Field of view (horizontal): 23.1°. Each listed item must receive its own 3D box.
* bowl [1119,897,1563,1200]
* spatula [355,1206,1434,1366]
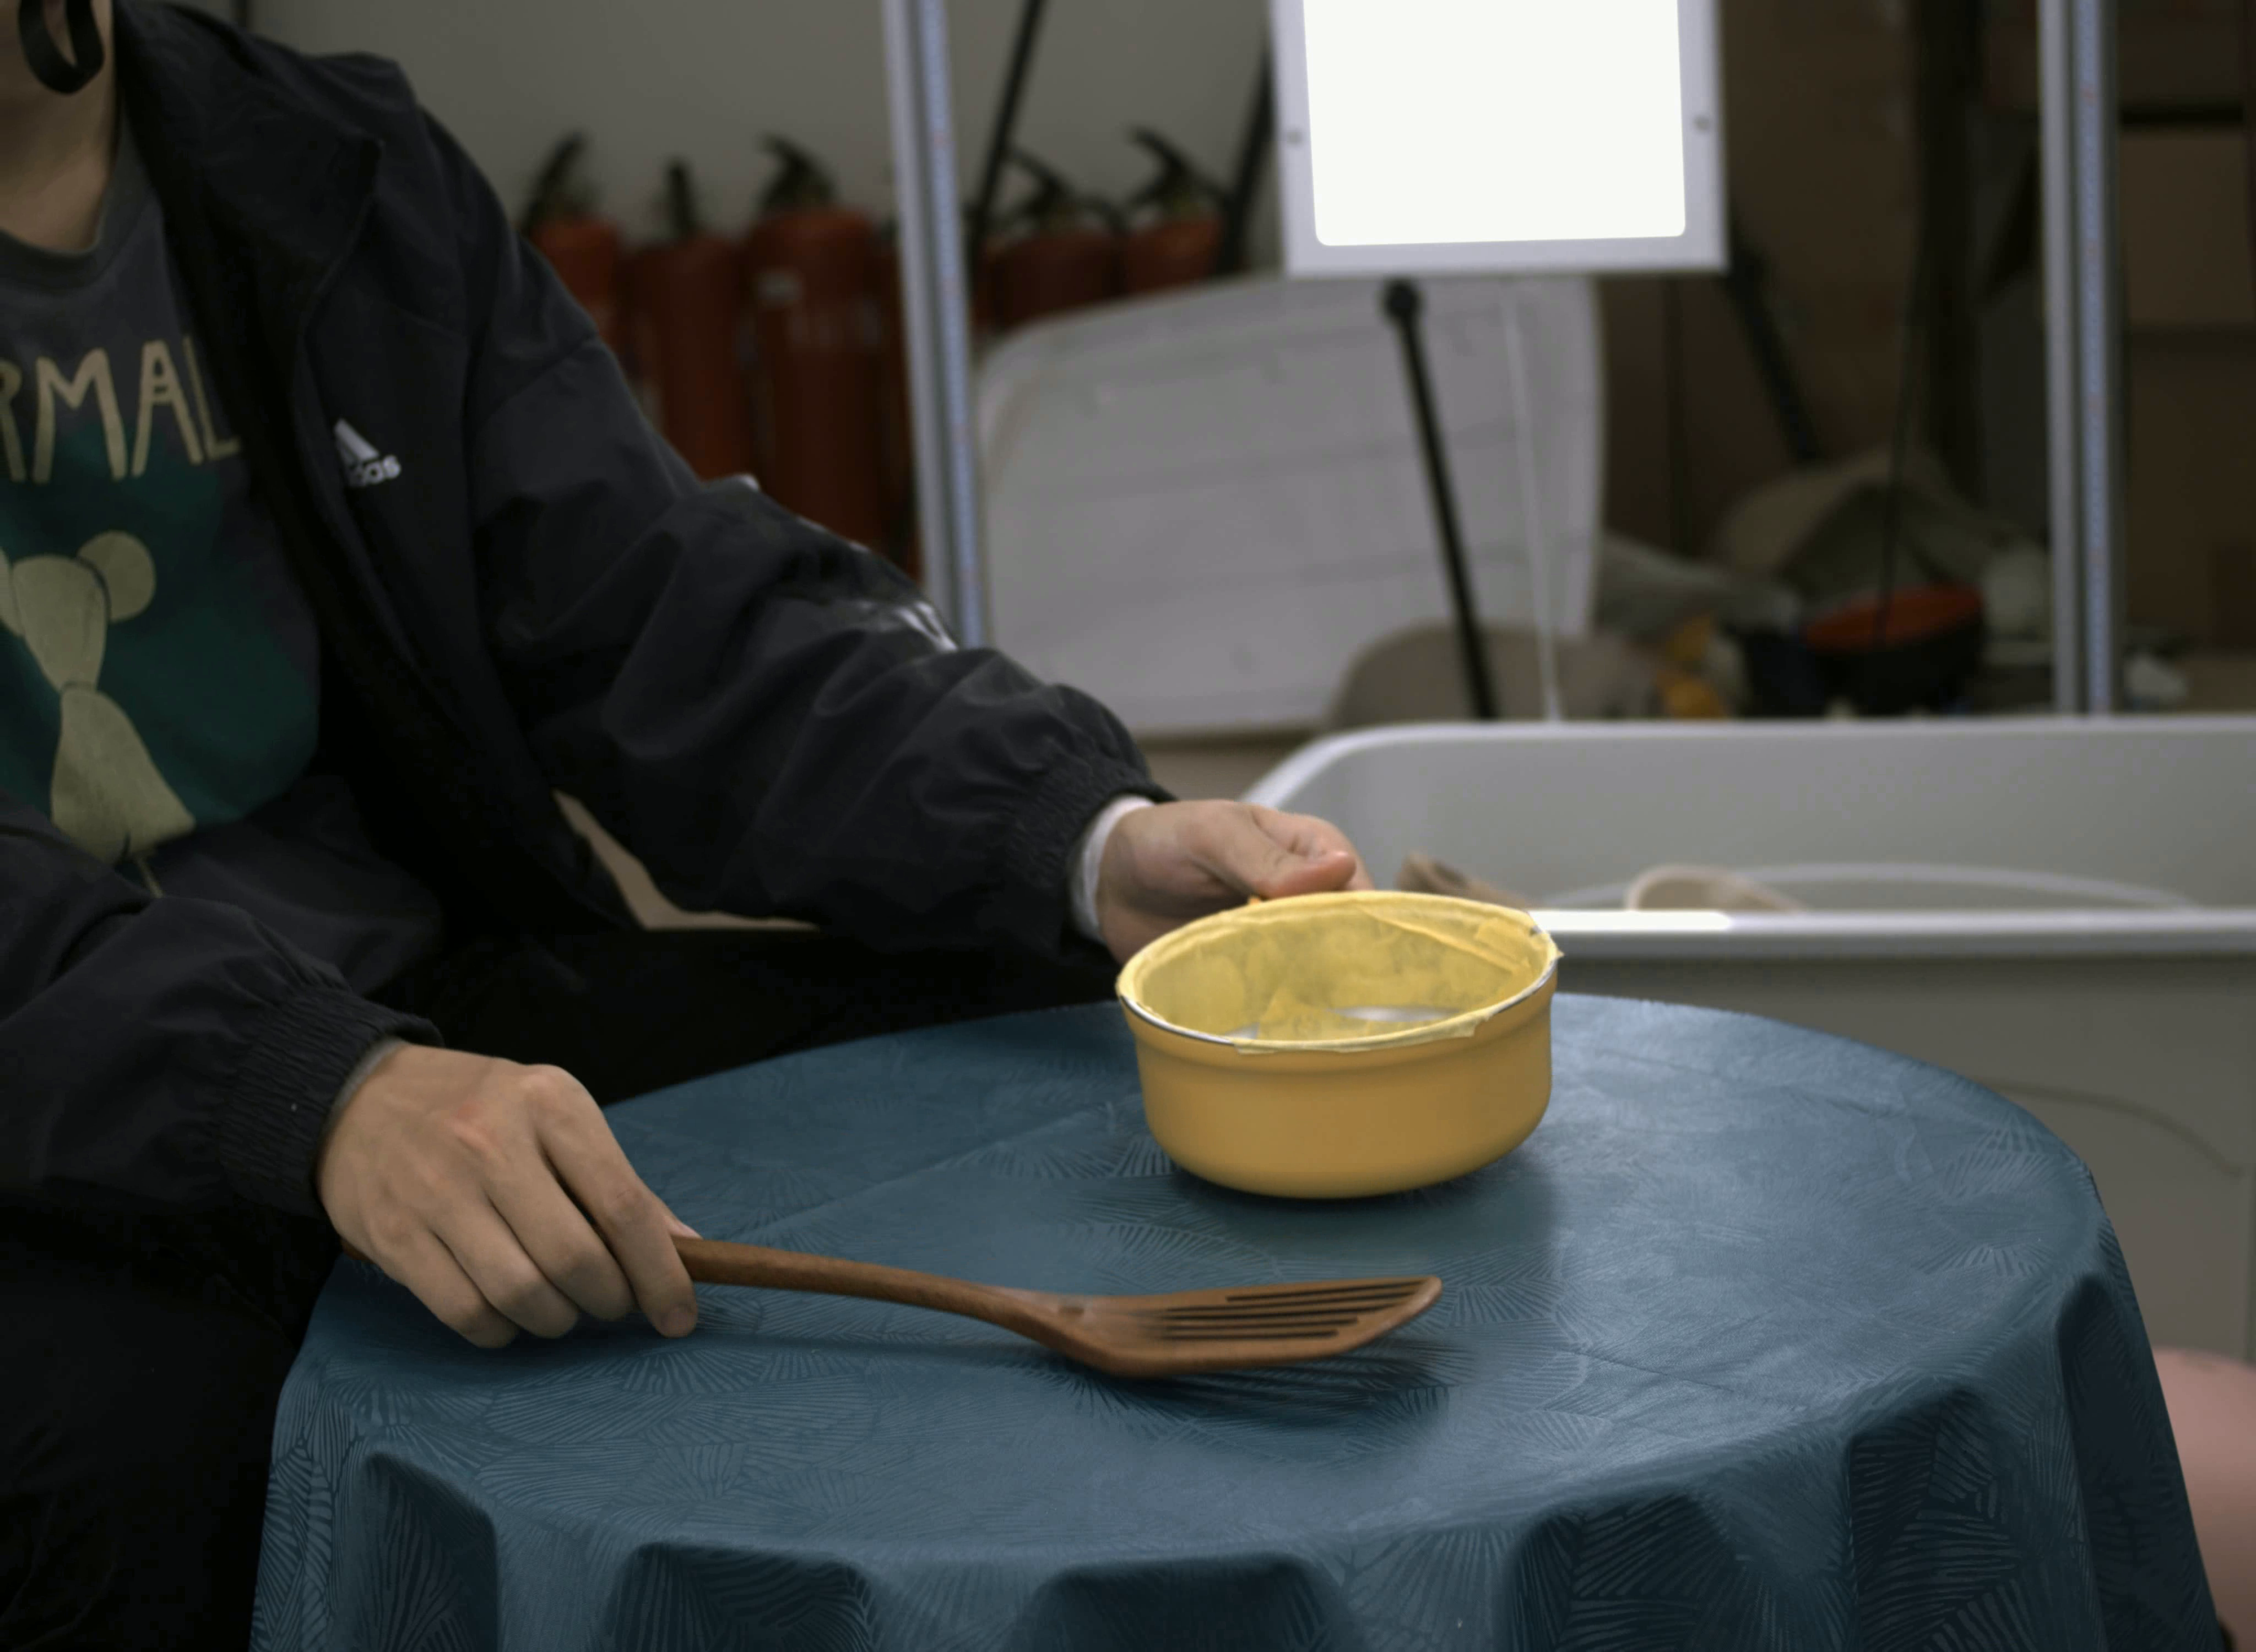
[{"bbox_3d":[0.074,0.076,1.921,0.151,0.074,0.180,-10,19,-11],"label":"bowl"},{"bbox_3d":[-0.086,0.146,1.772,0.393,0.024,0.083,3,12,28],"label":"spatula"}]
